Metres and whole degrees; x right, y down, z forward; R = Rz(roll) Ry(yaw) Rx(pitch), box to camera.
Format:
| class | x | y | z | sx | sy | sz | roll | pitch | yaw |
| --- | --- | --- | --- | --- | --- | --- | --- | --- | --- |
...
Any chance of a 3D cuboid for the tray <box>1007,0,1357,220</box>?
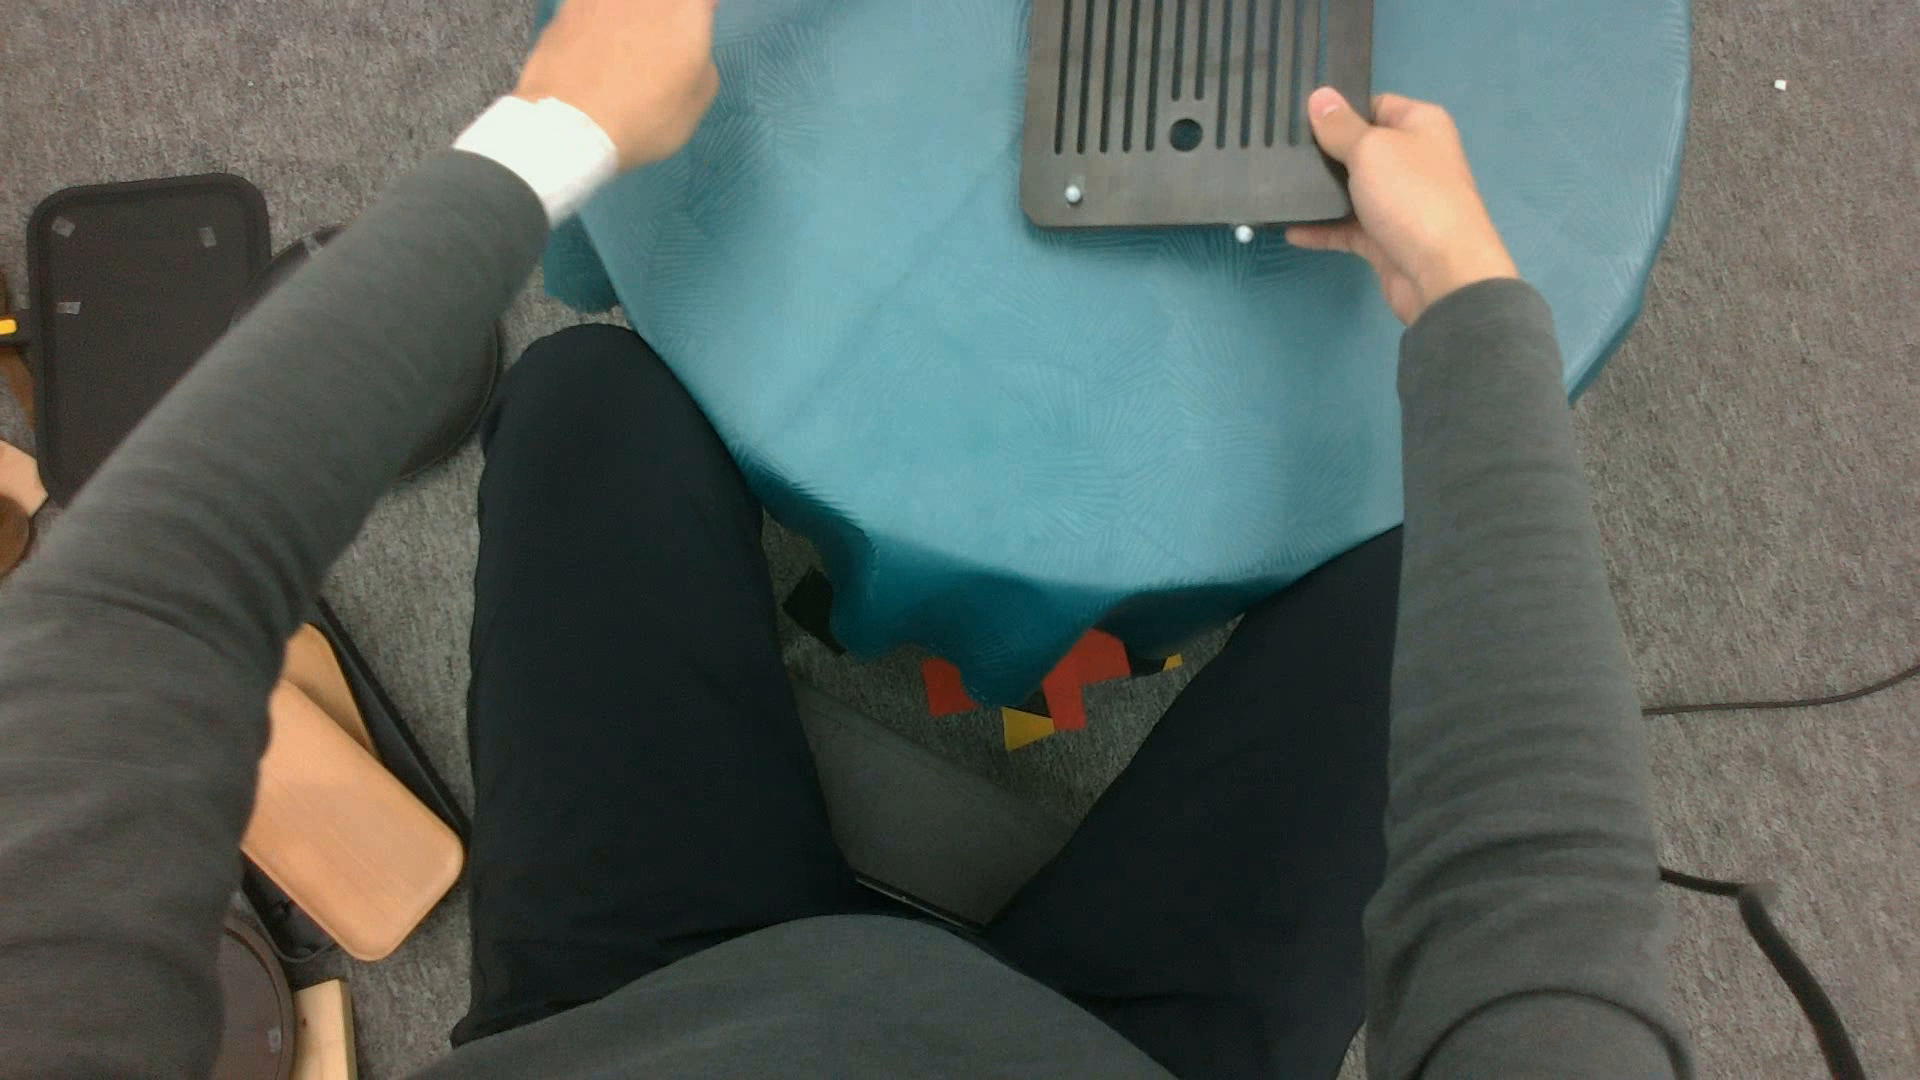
| class | x | y | z | sx | sy | sz | roll | pitch | yaw |
| --- | --- | --- | --- | --- | --- | --- | --- | --- | --- |
| tray | 0.116 | -0.310 | 0.703 | 0.170 | 0.018 | 0.306 | 2 | 82 | 14 |

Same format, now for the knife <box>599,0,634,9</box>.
| class | x | y | z | sx | sy | sz | roll | pitch | yaw |
| --- | --- | --- | --- | --- | --- | --- | --- | --- | --- |
| knife | -0.078 | -0.319 | 0.690 | 0.239 | 0.016 | 0.024 | -36 | 71 | -21 |
